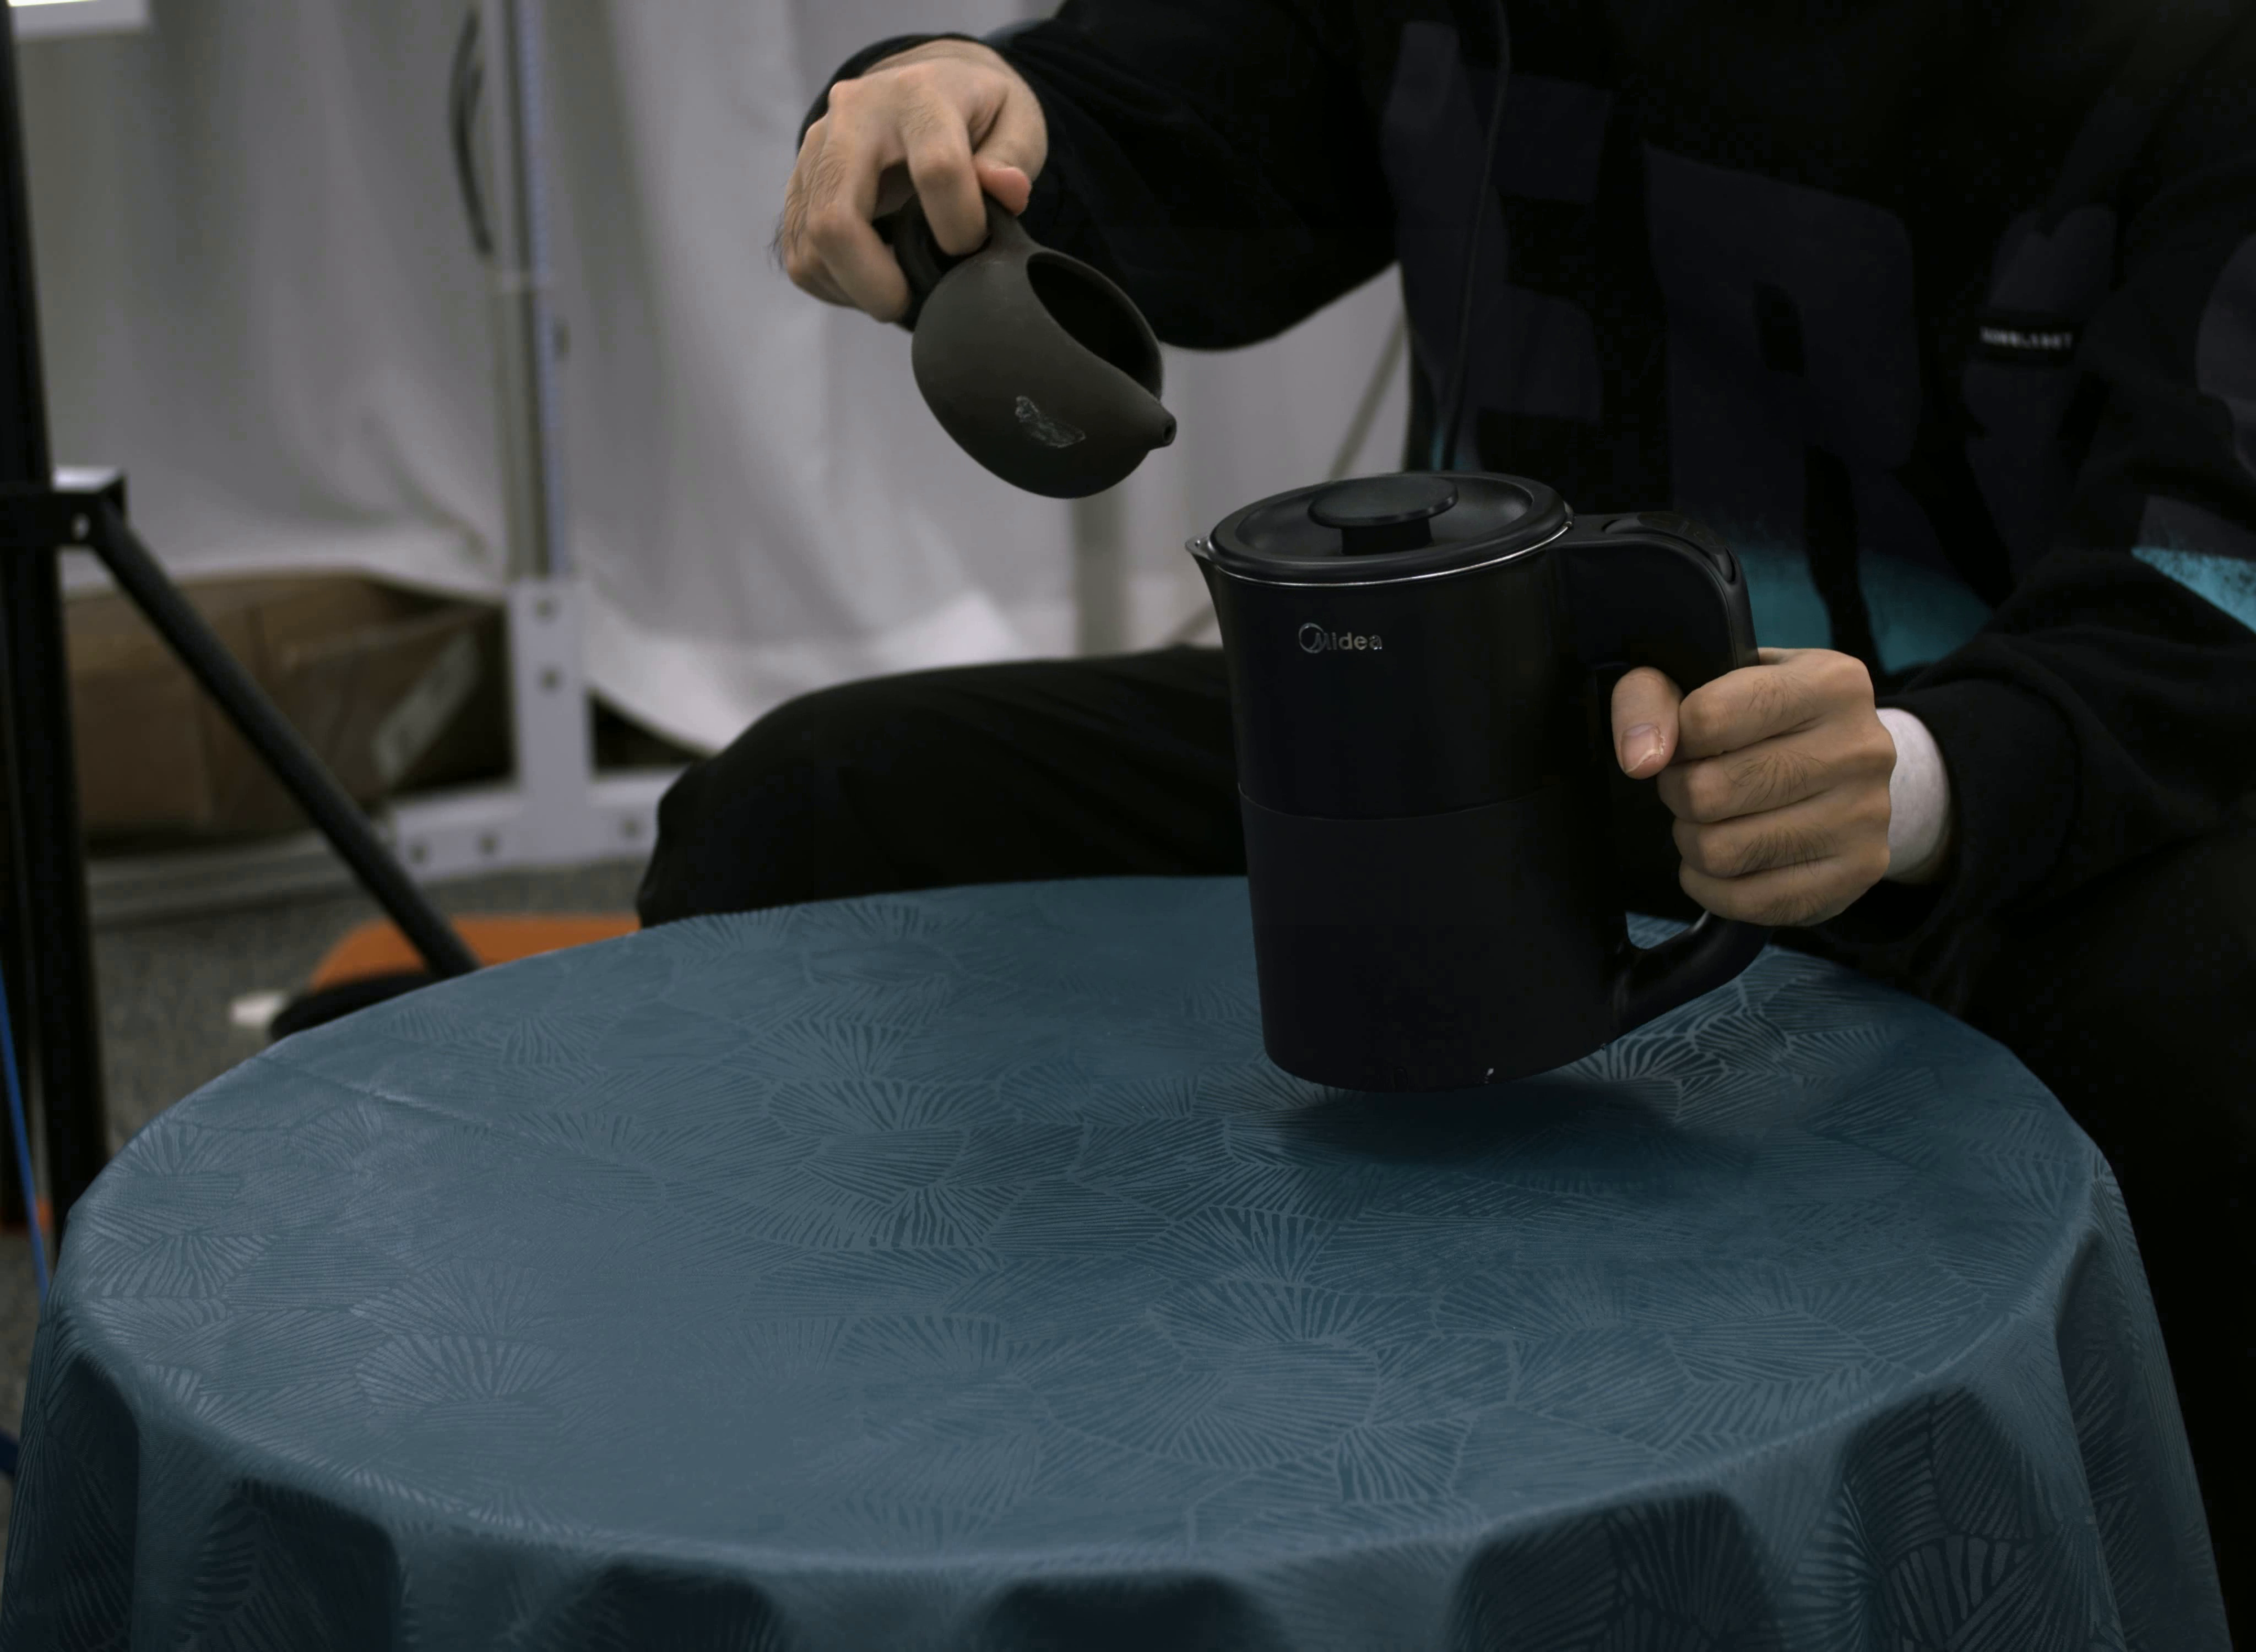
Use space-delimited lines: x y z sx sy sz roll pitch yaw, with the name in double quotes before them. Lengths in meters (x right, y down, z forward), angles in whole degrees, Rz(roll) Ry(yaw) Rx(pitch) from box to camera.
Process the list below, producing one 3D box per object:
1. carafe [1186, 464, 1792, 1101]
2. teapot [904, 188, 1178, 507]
"carafe" 0.108 -0.019 1.575 0.173 0.173 0.113 -4 15 20
"teapot" -0.030 -0.145 1.608 0.081 0.053 0.116 -2 53 -54
